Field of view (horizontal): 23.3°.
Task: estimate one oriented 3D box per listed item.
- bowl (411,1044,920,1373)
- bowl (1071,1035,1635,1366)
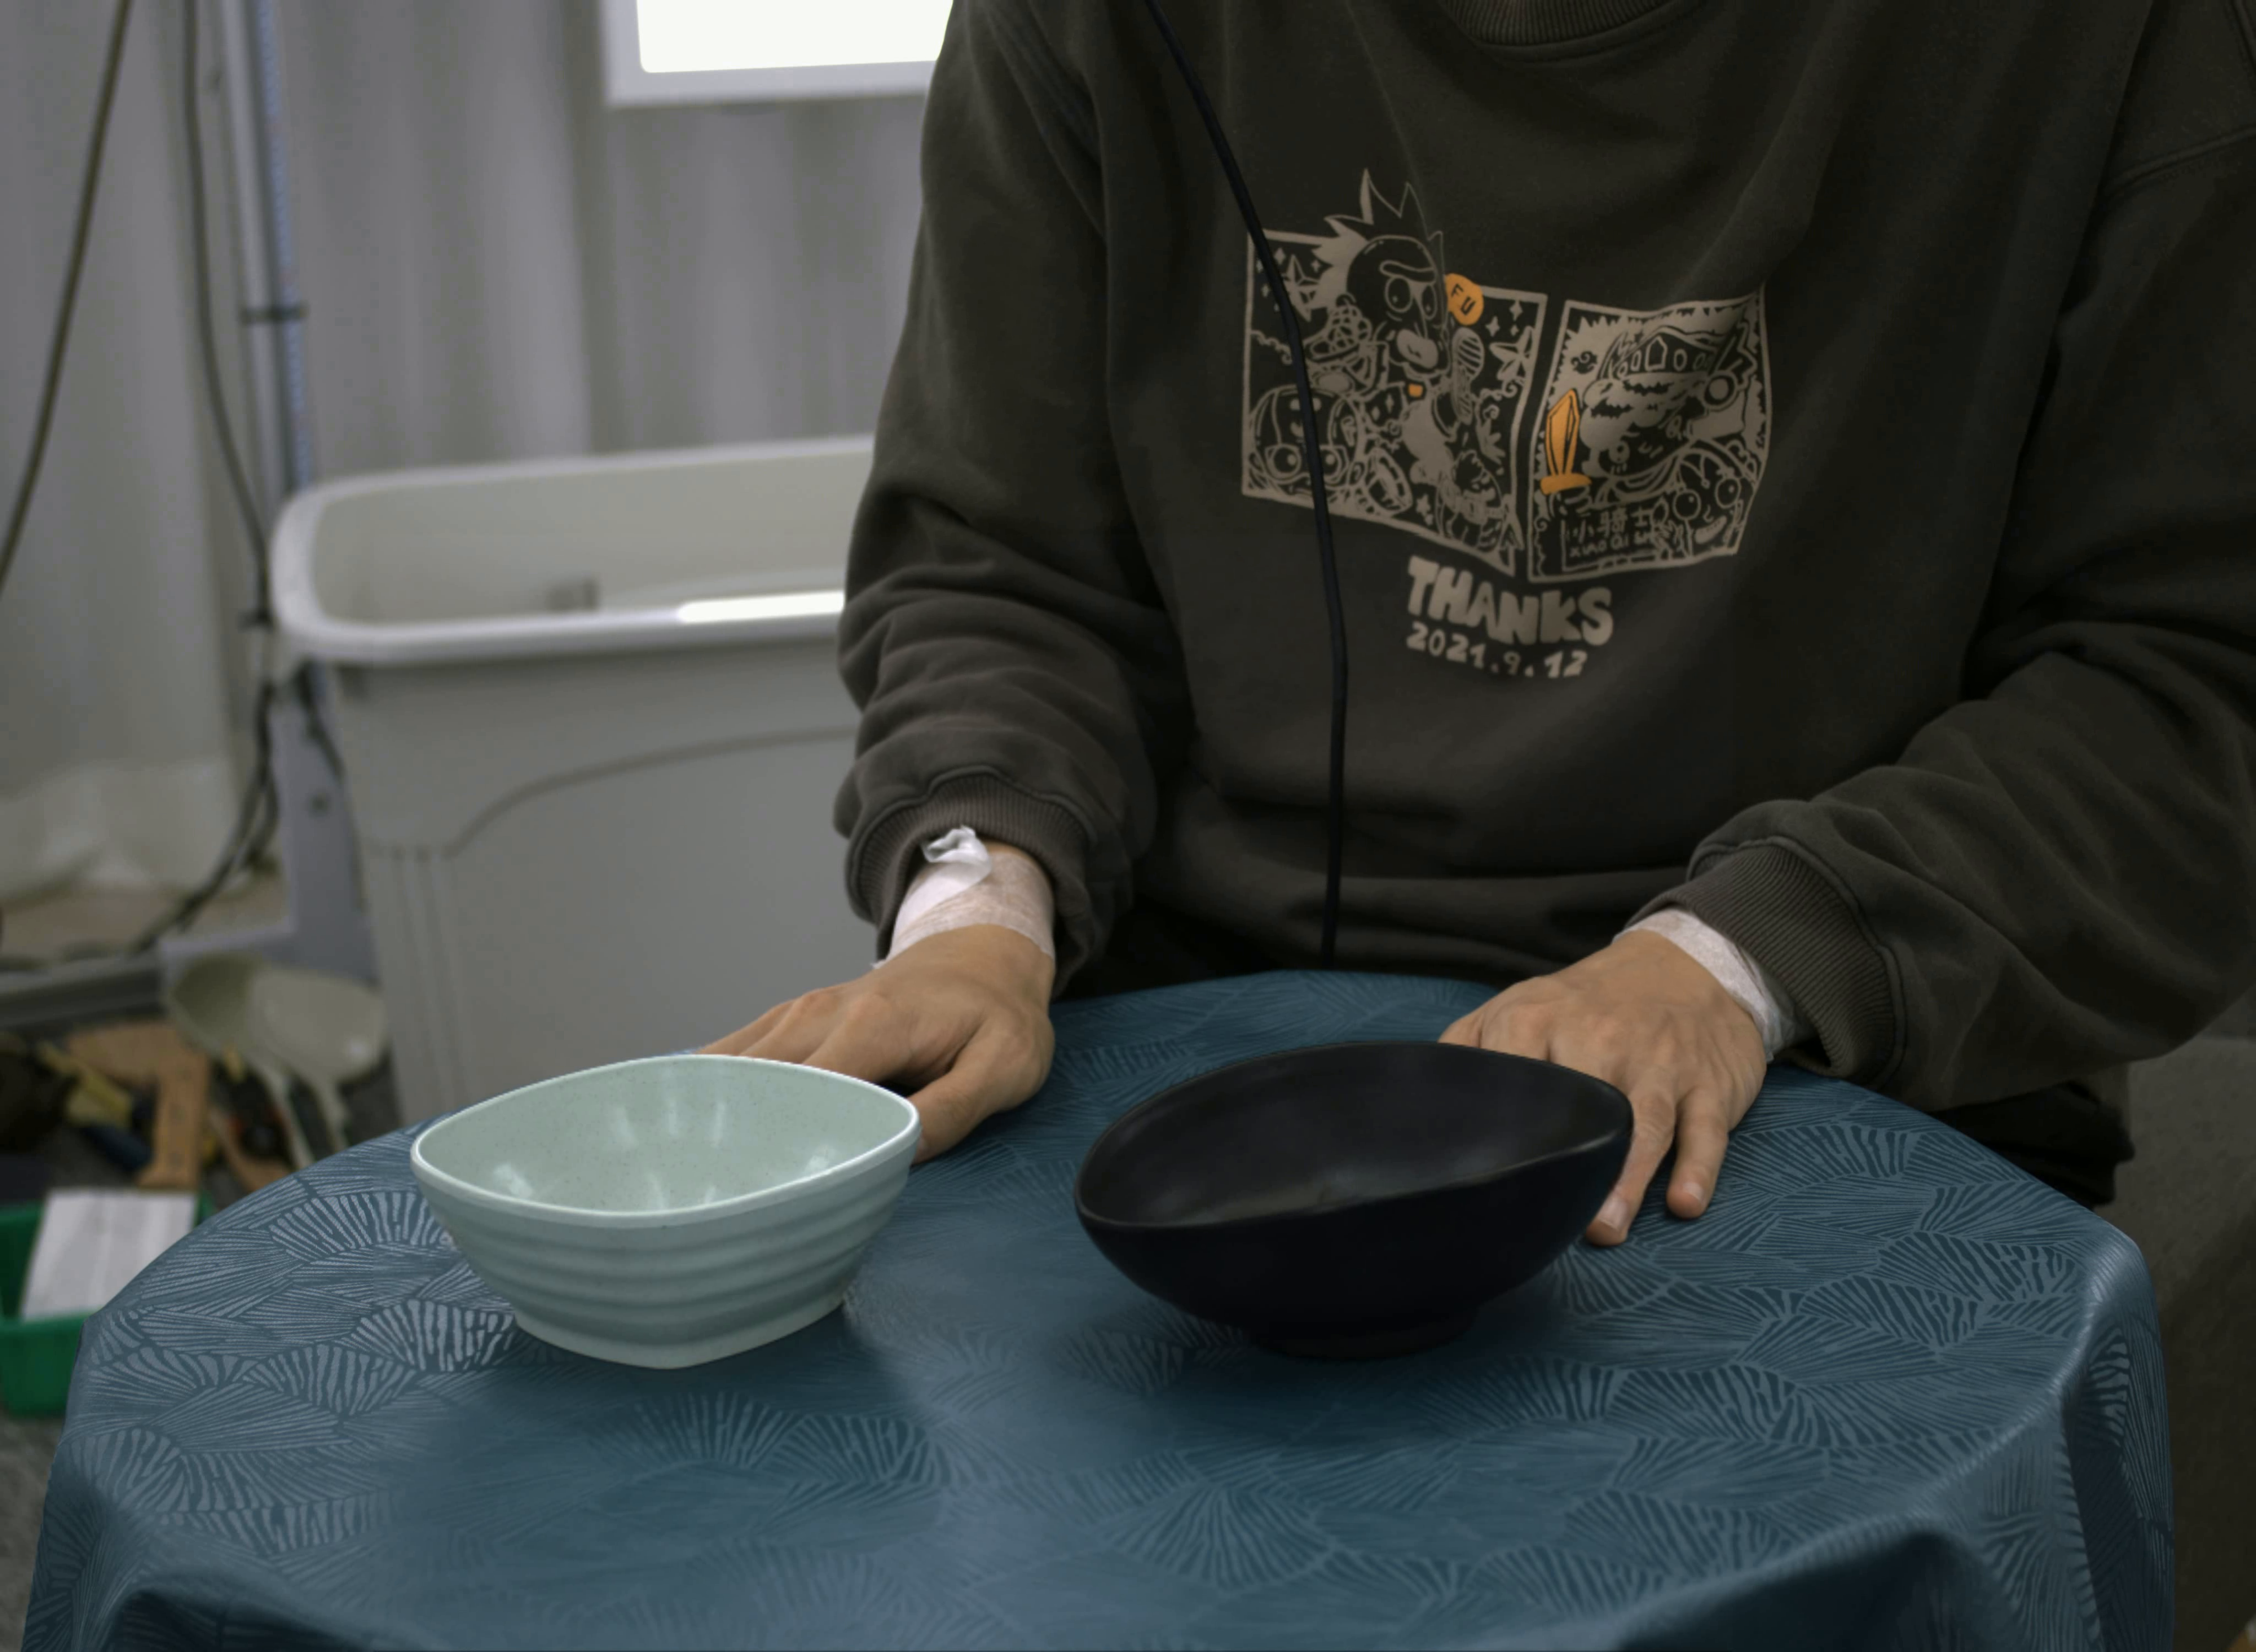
[{"bbox_3d":[-0.136,0.117,1.628,0.151,0.058,0.152,-2,17,0],"label":"bowl"},{"bbox_3d":[0.068,0.115,1.587,0.169,0.066,0.138,-11,17,-24],"label":"bowl"}]
